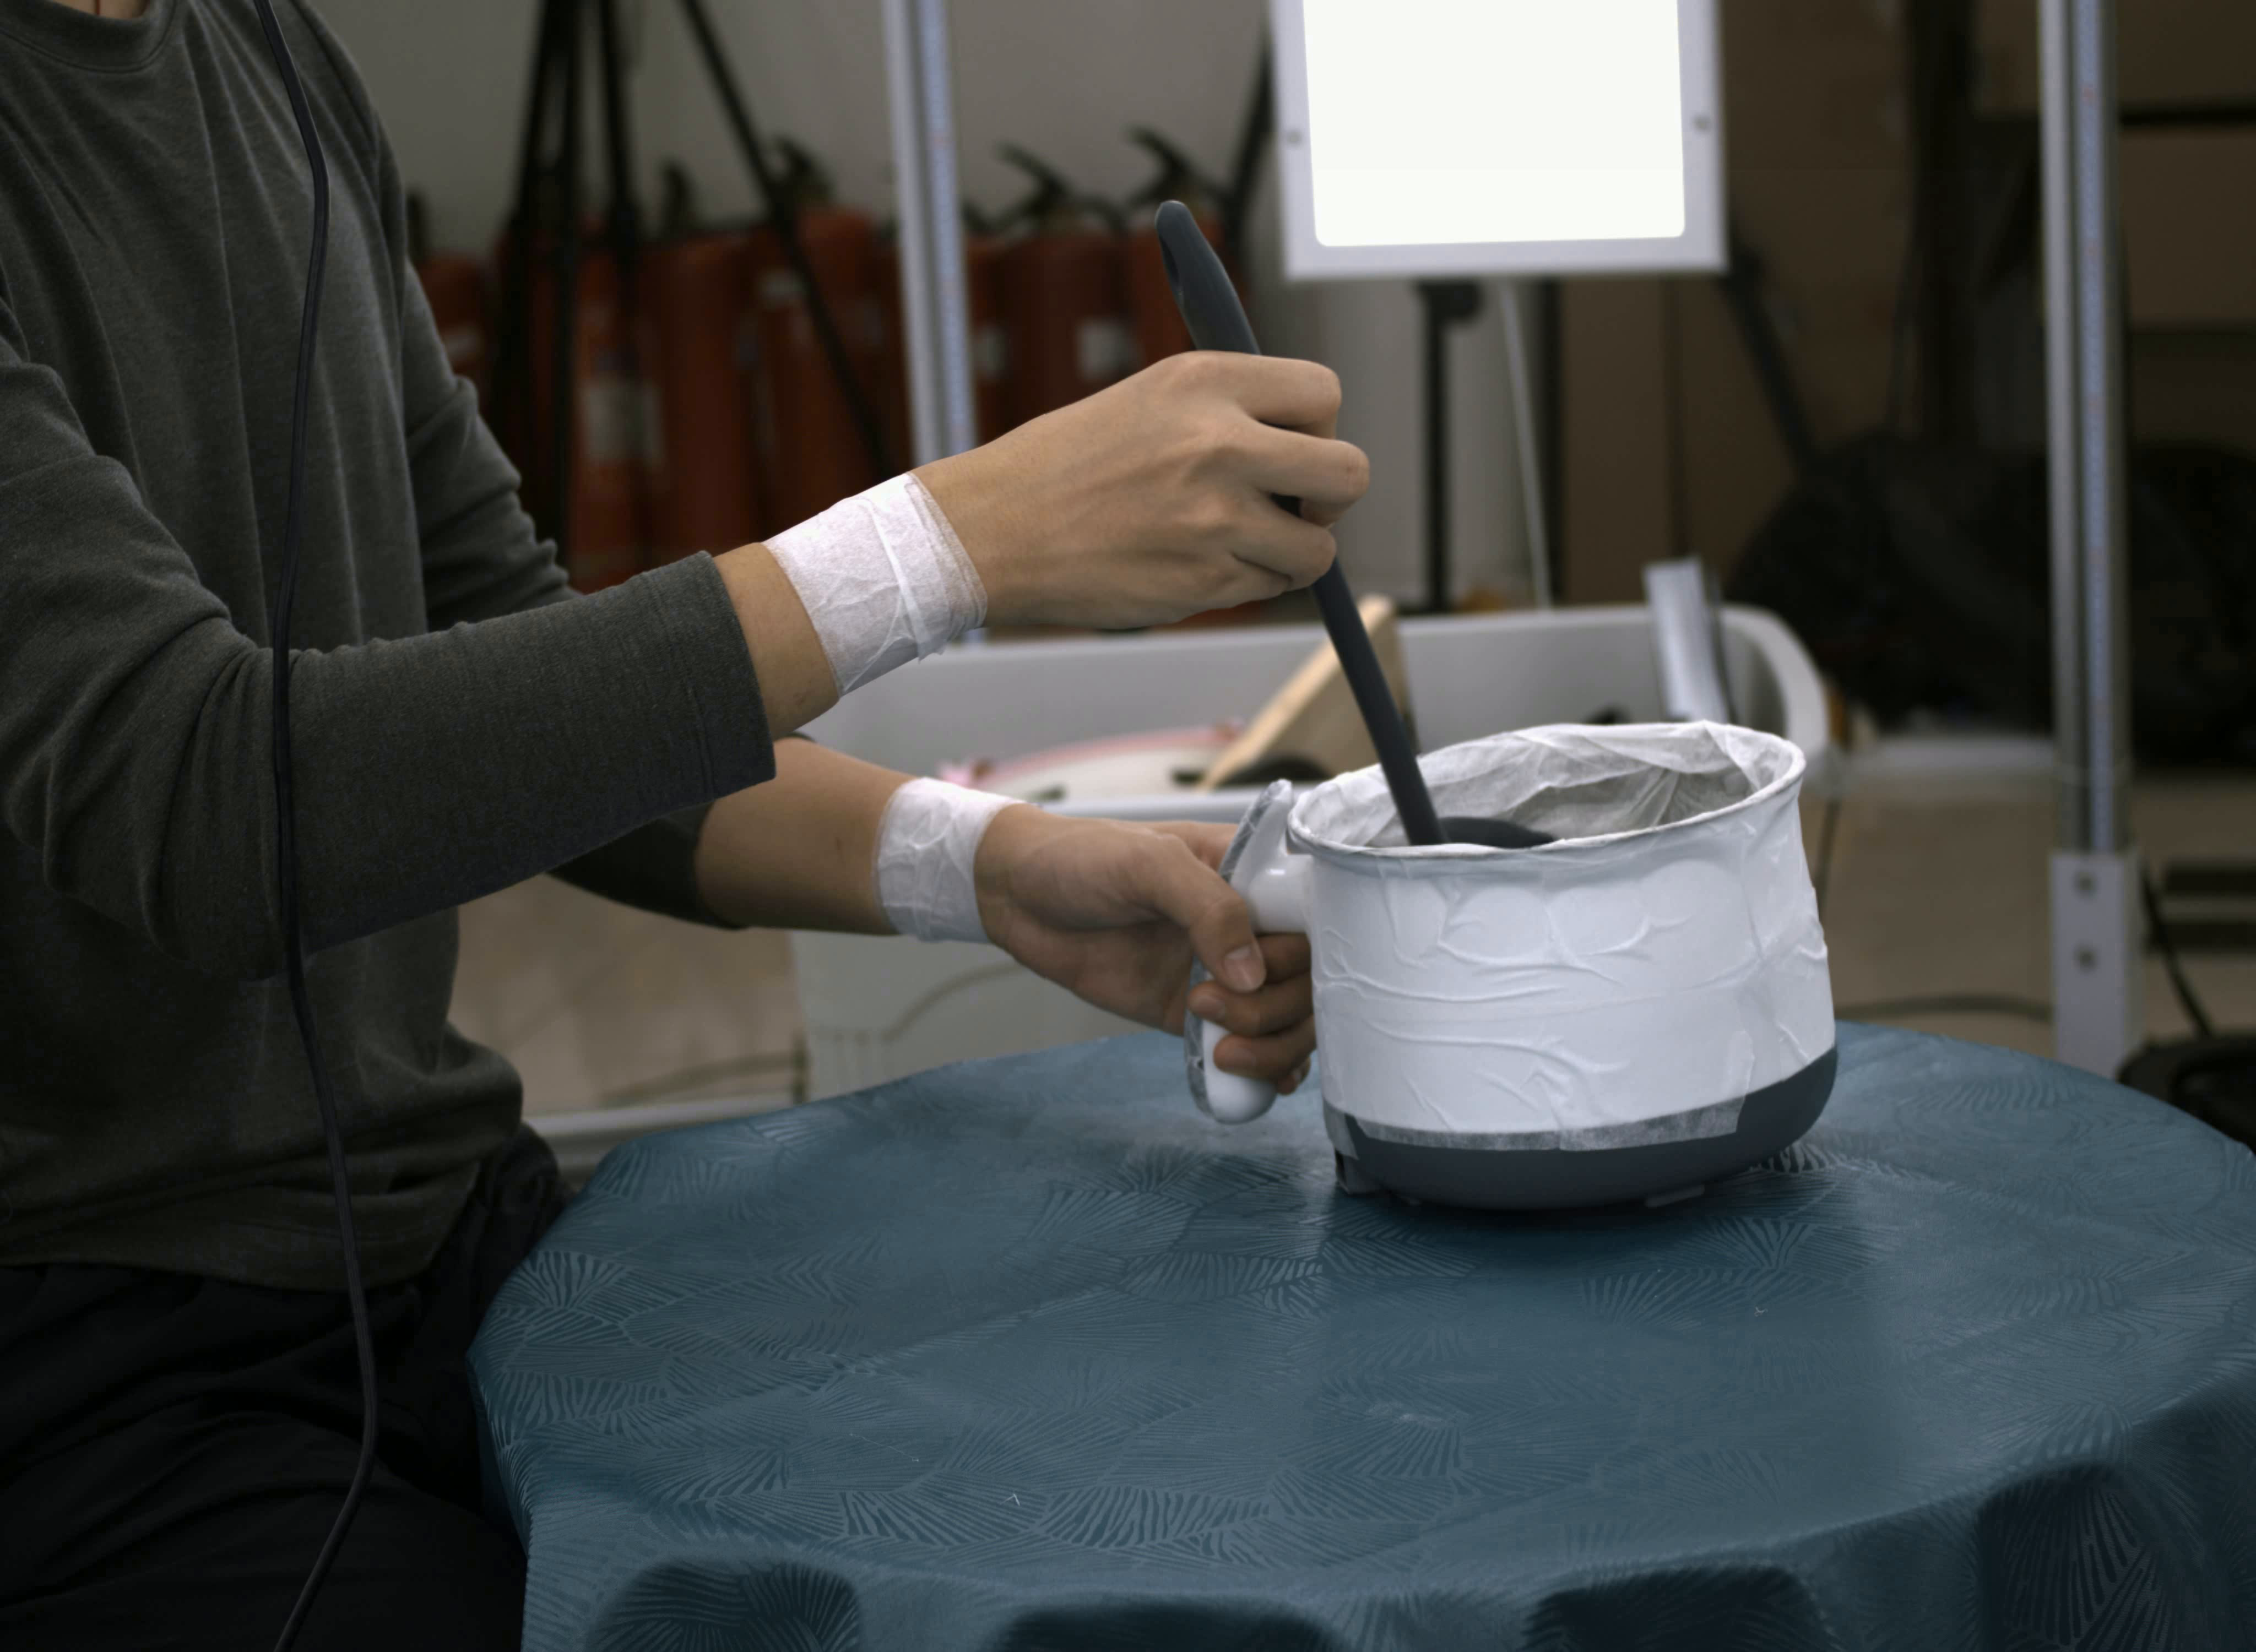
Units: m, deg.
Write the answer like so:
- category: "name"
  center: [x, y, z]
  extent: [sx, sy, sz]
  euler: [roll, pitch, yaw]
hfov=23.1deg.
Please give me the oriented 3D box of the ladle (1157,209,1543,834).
- category: "ladle"
  center: [0.091, -0.082, 1.818]
  extent: [0.063, 0.313, 0.087]
  euler: [-32, 29, -13]

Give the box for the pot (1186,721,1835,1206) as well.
- category: "pot"
  center: [0.125, 0.047, 1.883]
  extent: [0.238, 0.137, 0.175]
  euler: [-2, 13, 26]
